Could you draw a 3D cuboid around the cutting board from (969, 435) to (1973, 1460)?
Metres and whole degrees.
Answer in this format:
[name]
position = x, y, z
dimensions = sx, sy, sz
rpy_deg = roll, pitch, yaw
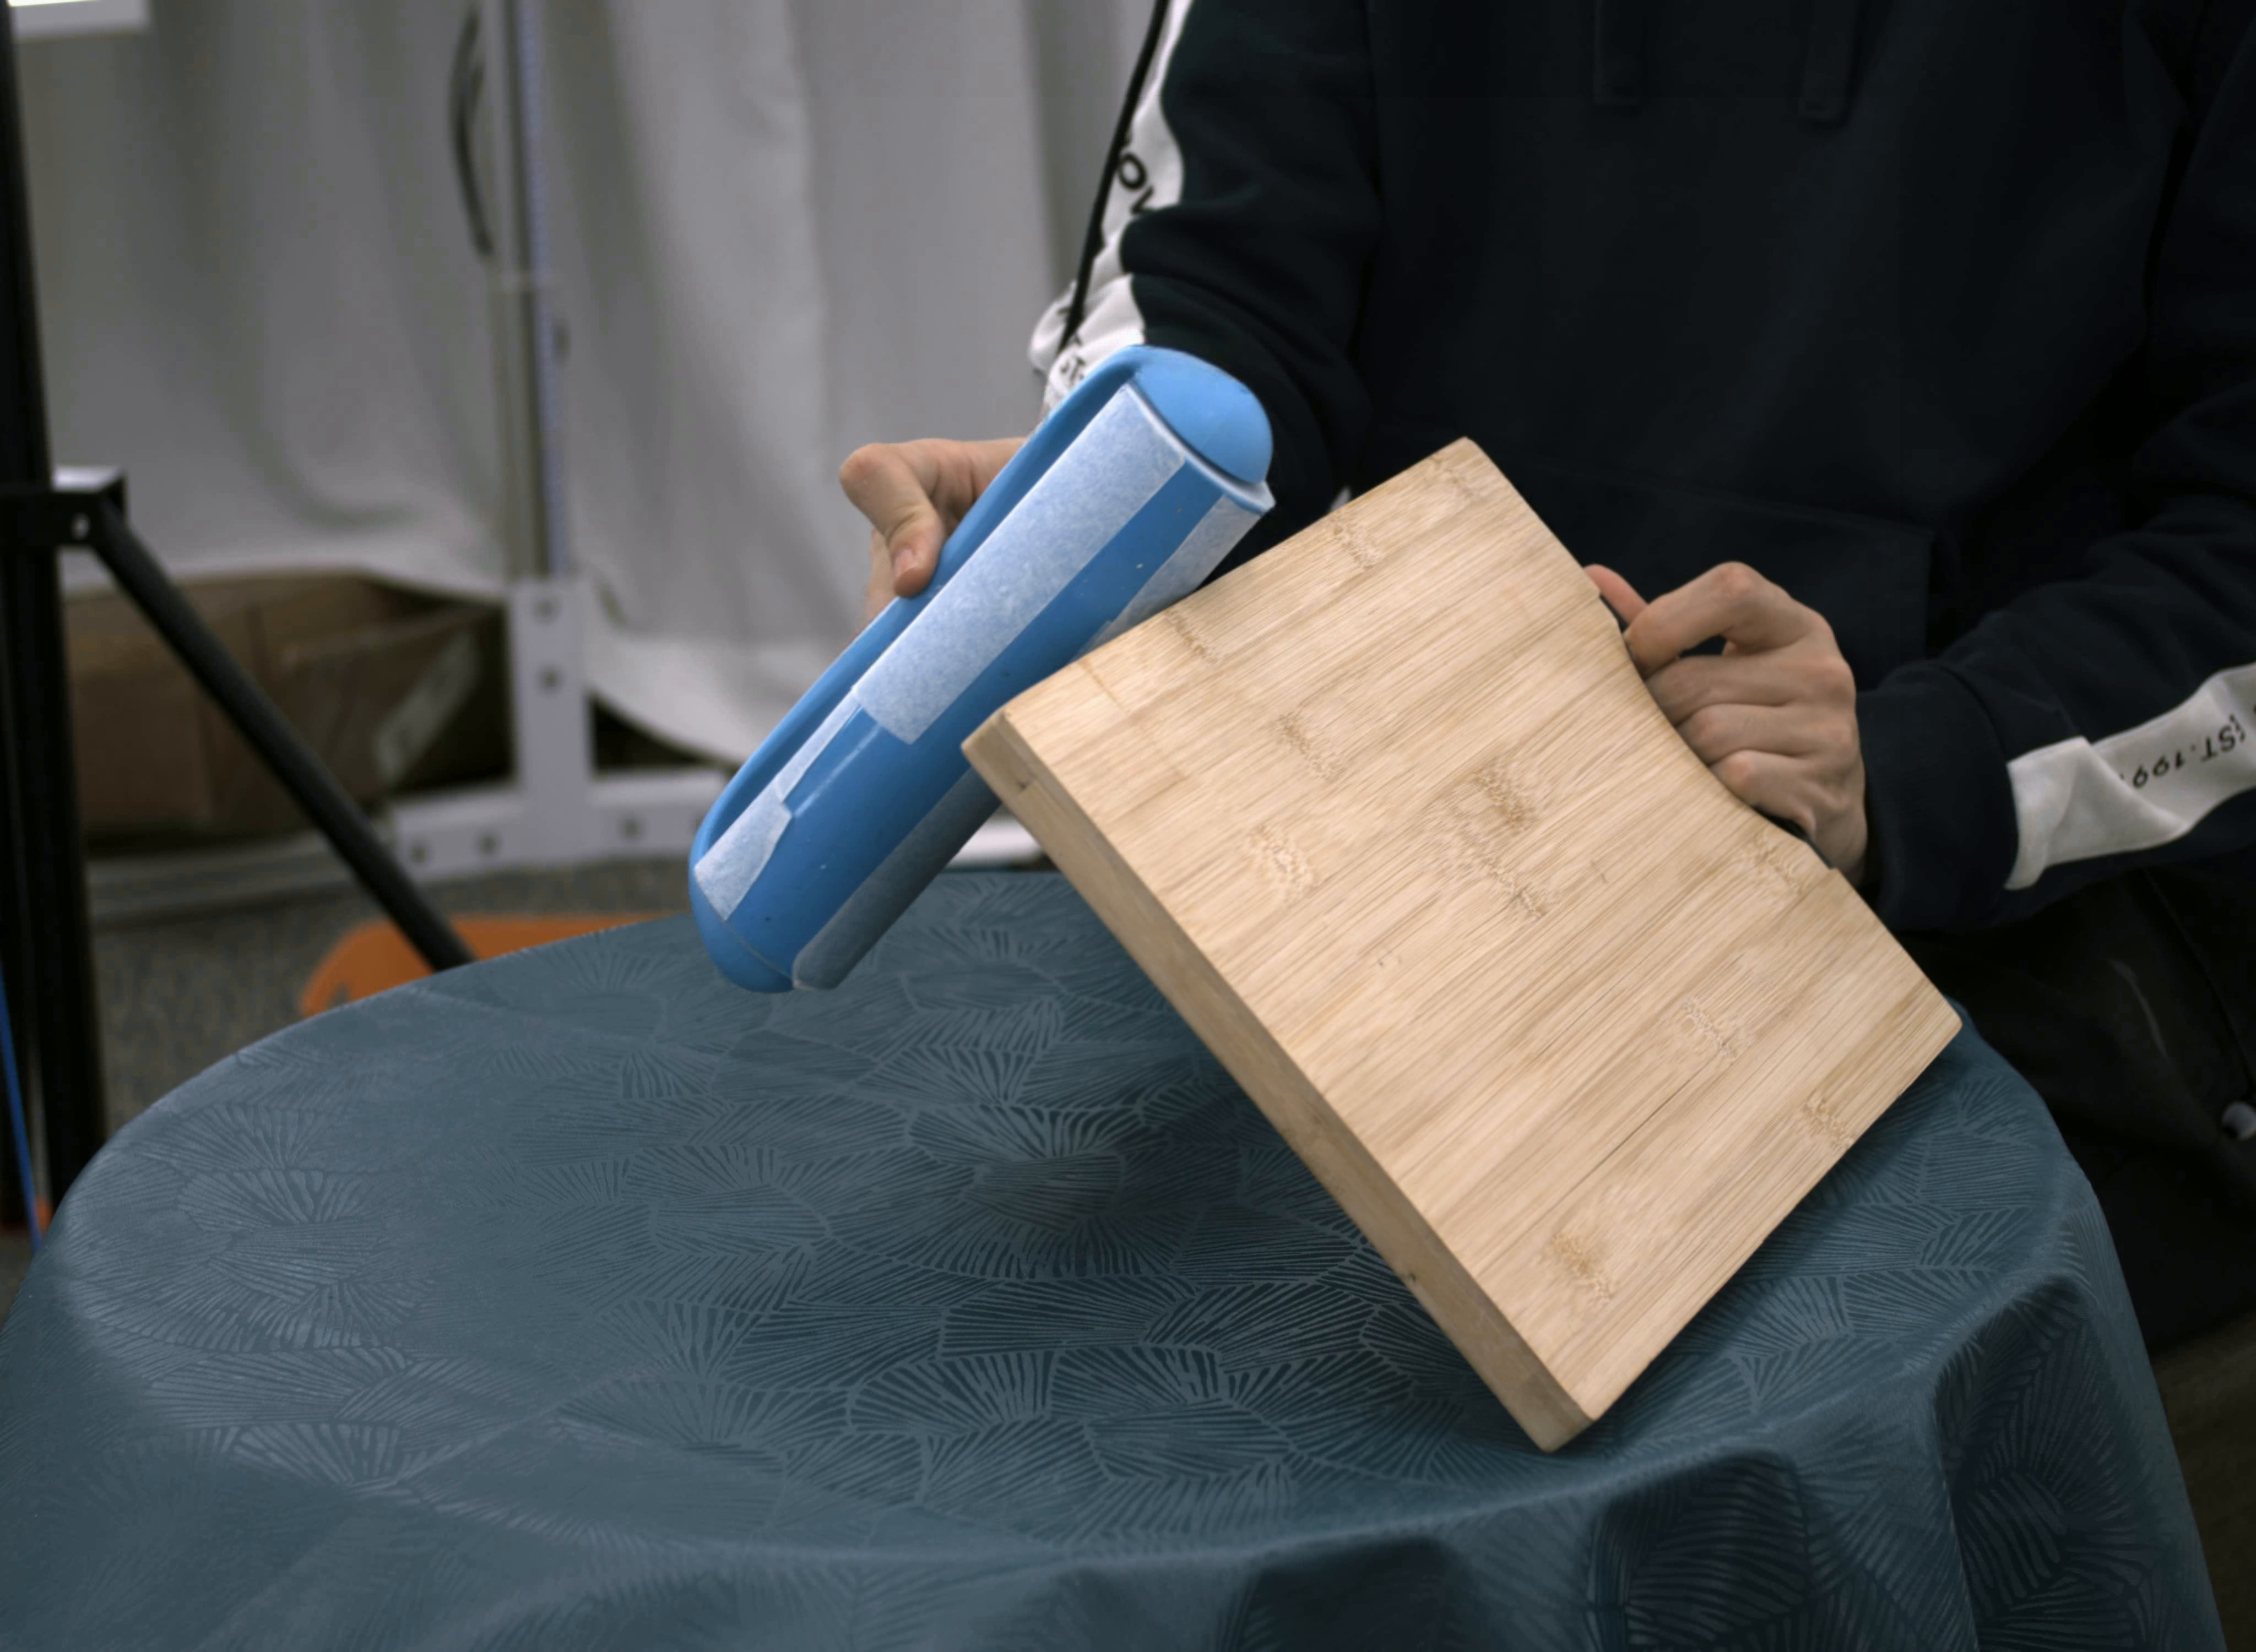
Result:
[cutting board]
position = 0.108, 0.020, 1.504
dimensions = 0.024, 0.252, 0.343
rpy_deg = -43, -5, 29

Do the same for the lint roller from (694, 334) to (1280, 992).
[lint roller]
position = -0.035, -0.054, 1.558
dimensions = 0.068, 0.230, 0.180
rpy_deg = 40, 13, -4
